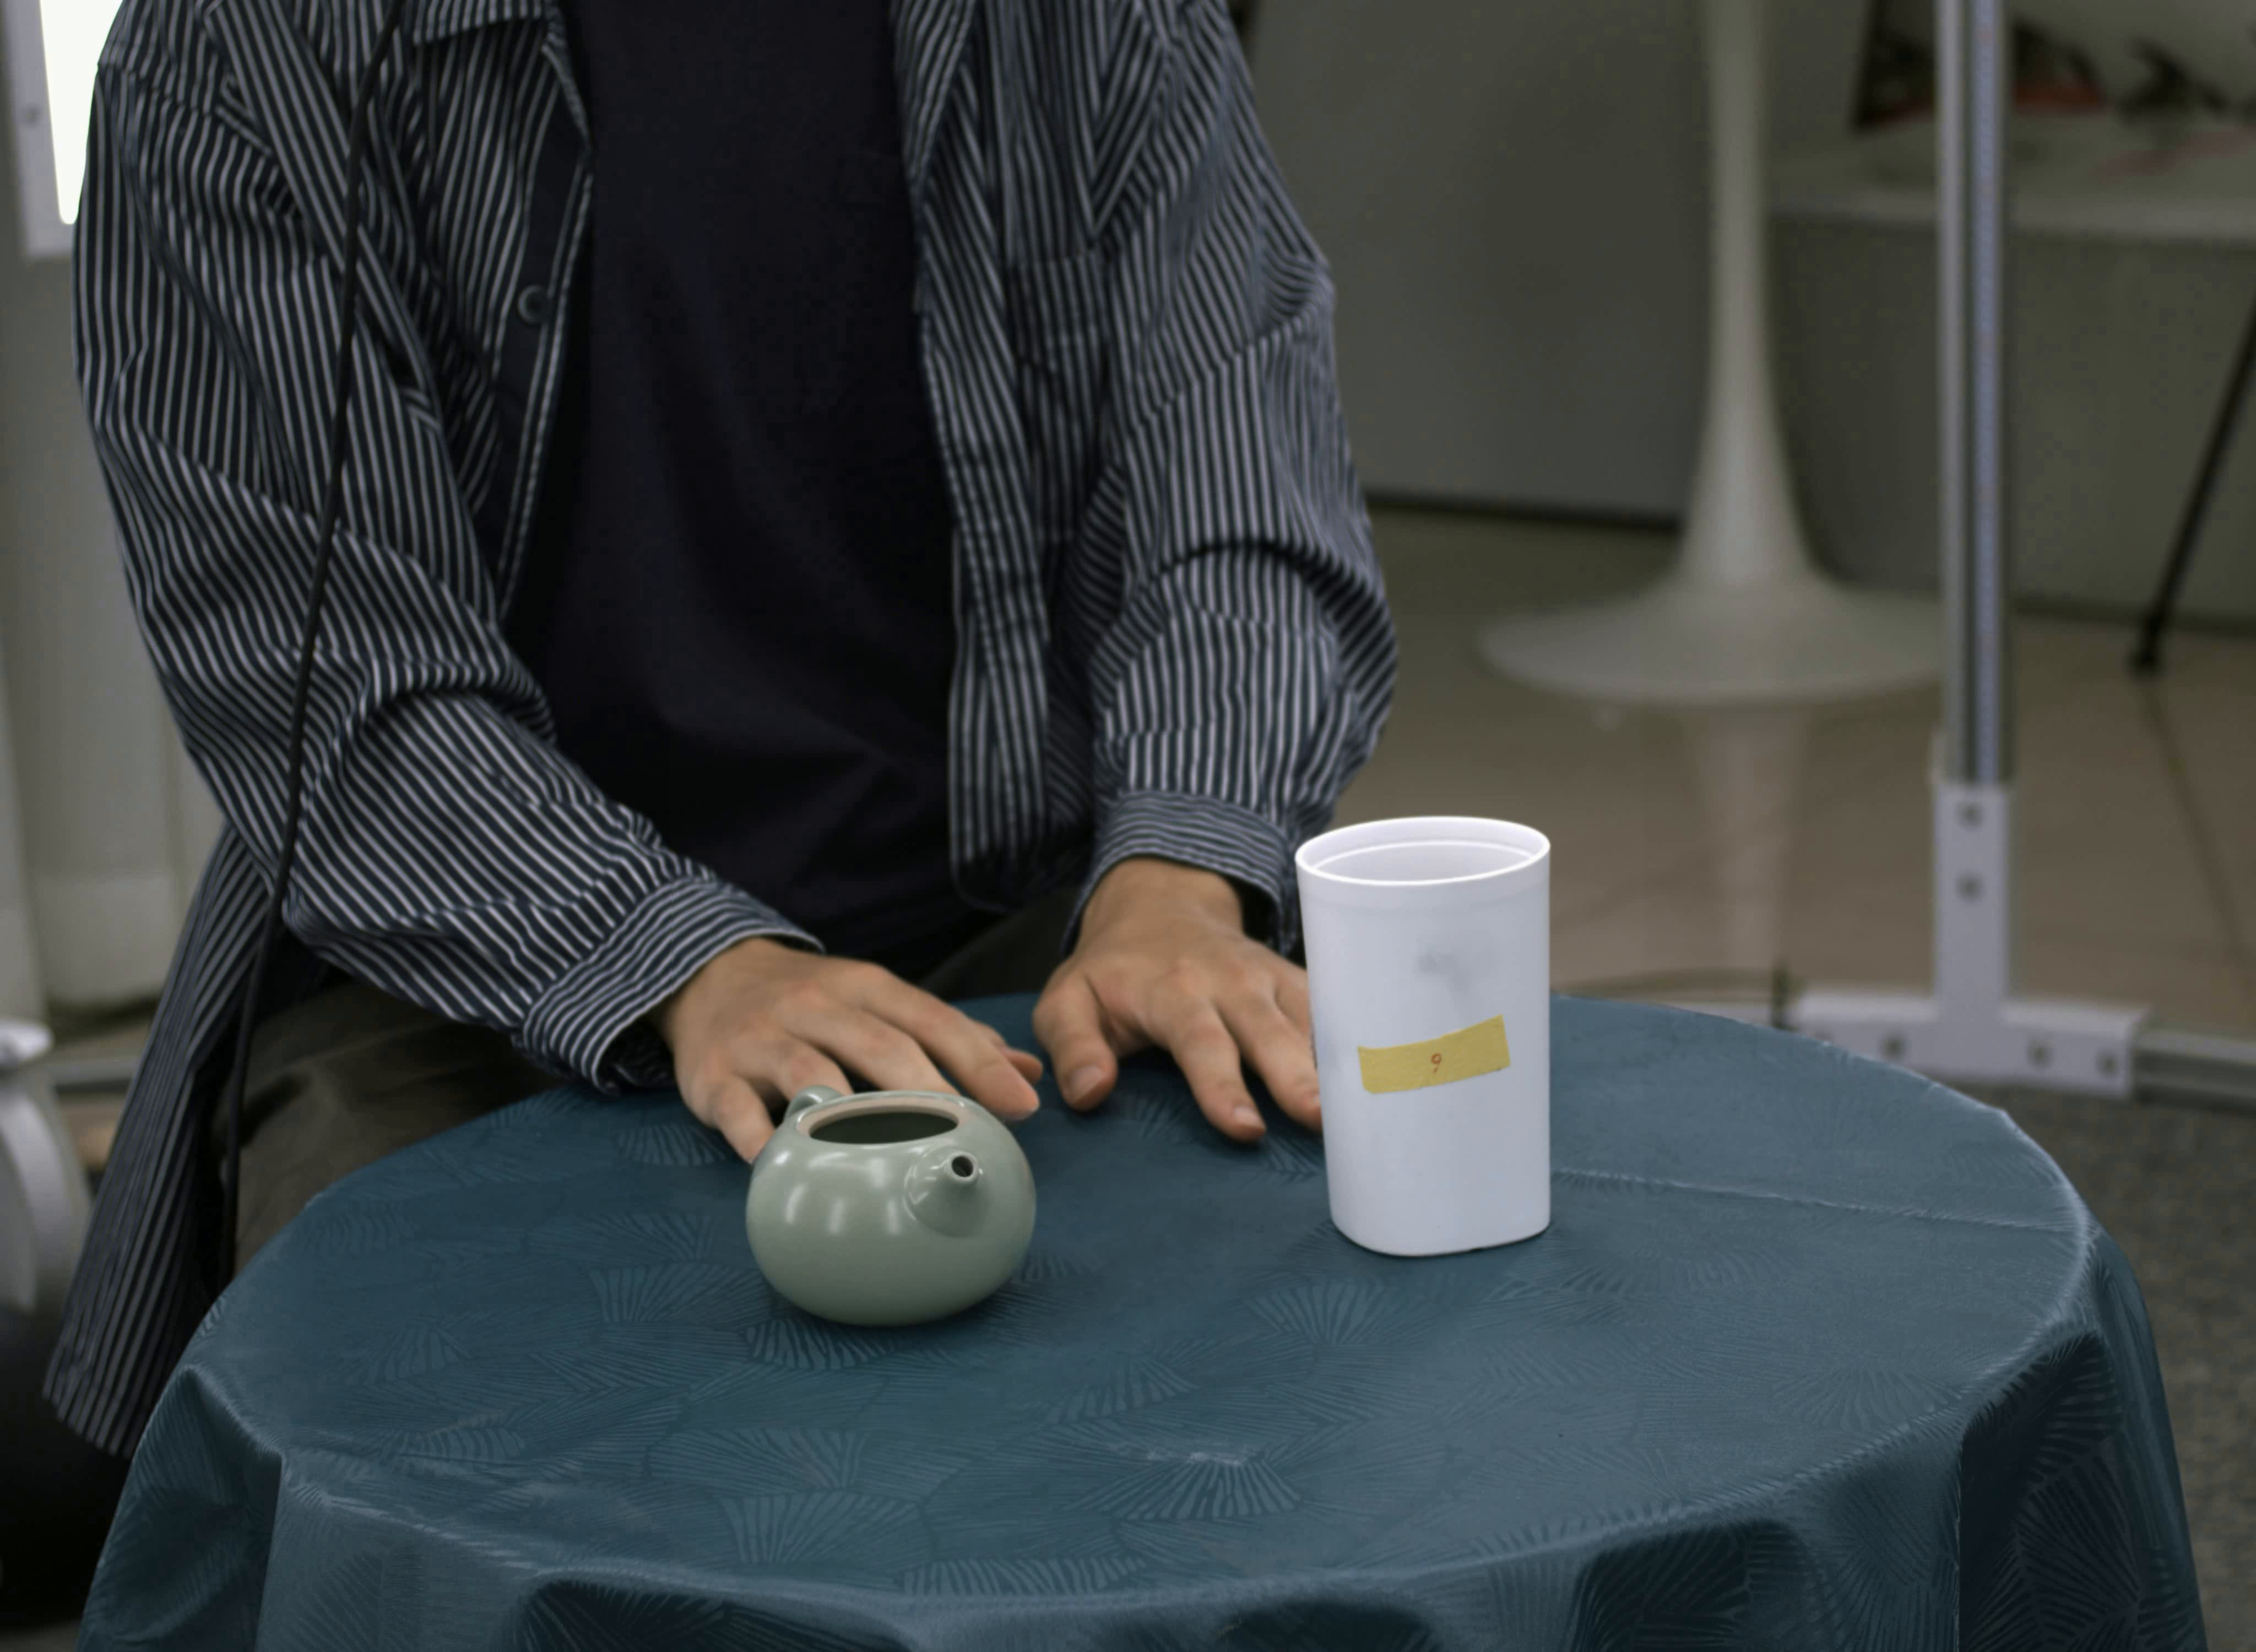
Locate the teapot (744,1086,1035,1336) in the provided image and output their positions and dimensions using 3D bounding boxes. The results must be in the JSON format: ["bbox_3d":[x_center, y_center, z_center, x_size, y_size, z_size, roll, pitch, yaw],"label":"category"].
[{"bbox_3d":[-0.078,0.118,1.680,0.089,0.061,0.130,-12,15,-22],"label":"teapot"}]

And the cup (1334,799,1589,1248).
[{"bbox_3d":[0.108,0.063,1.701,0.080,0.127,0.082,-4,13,0],"label":"cup"}]
